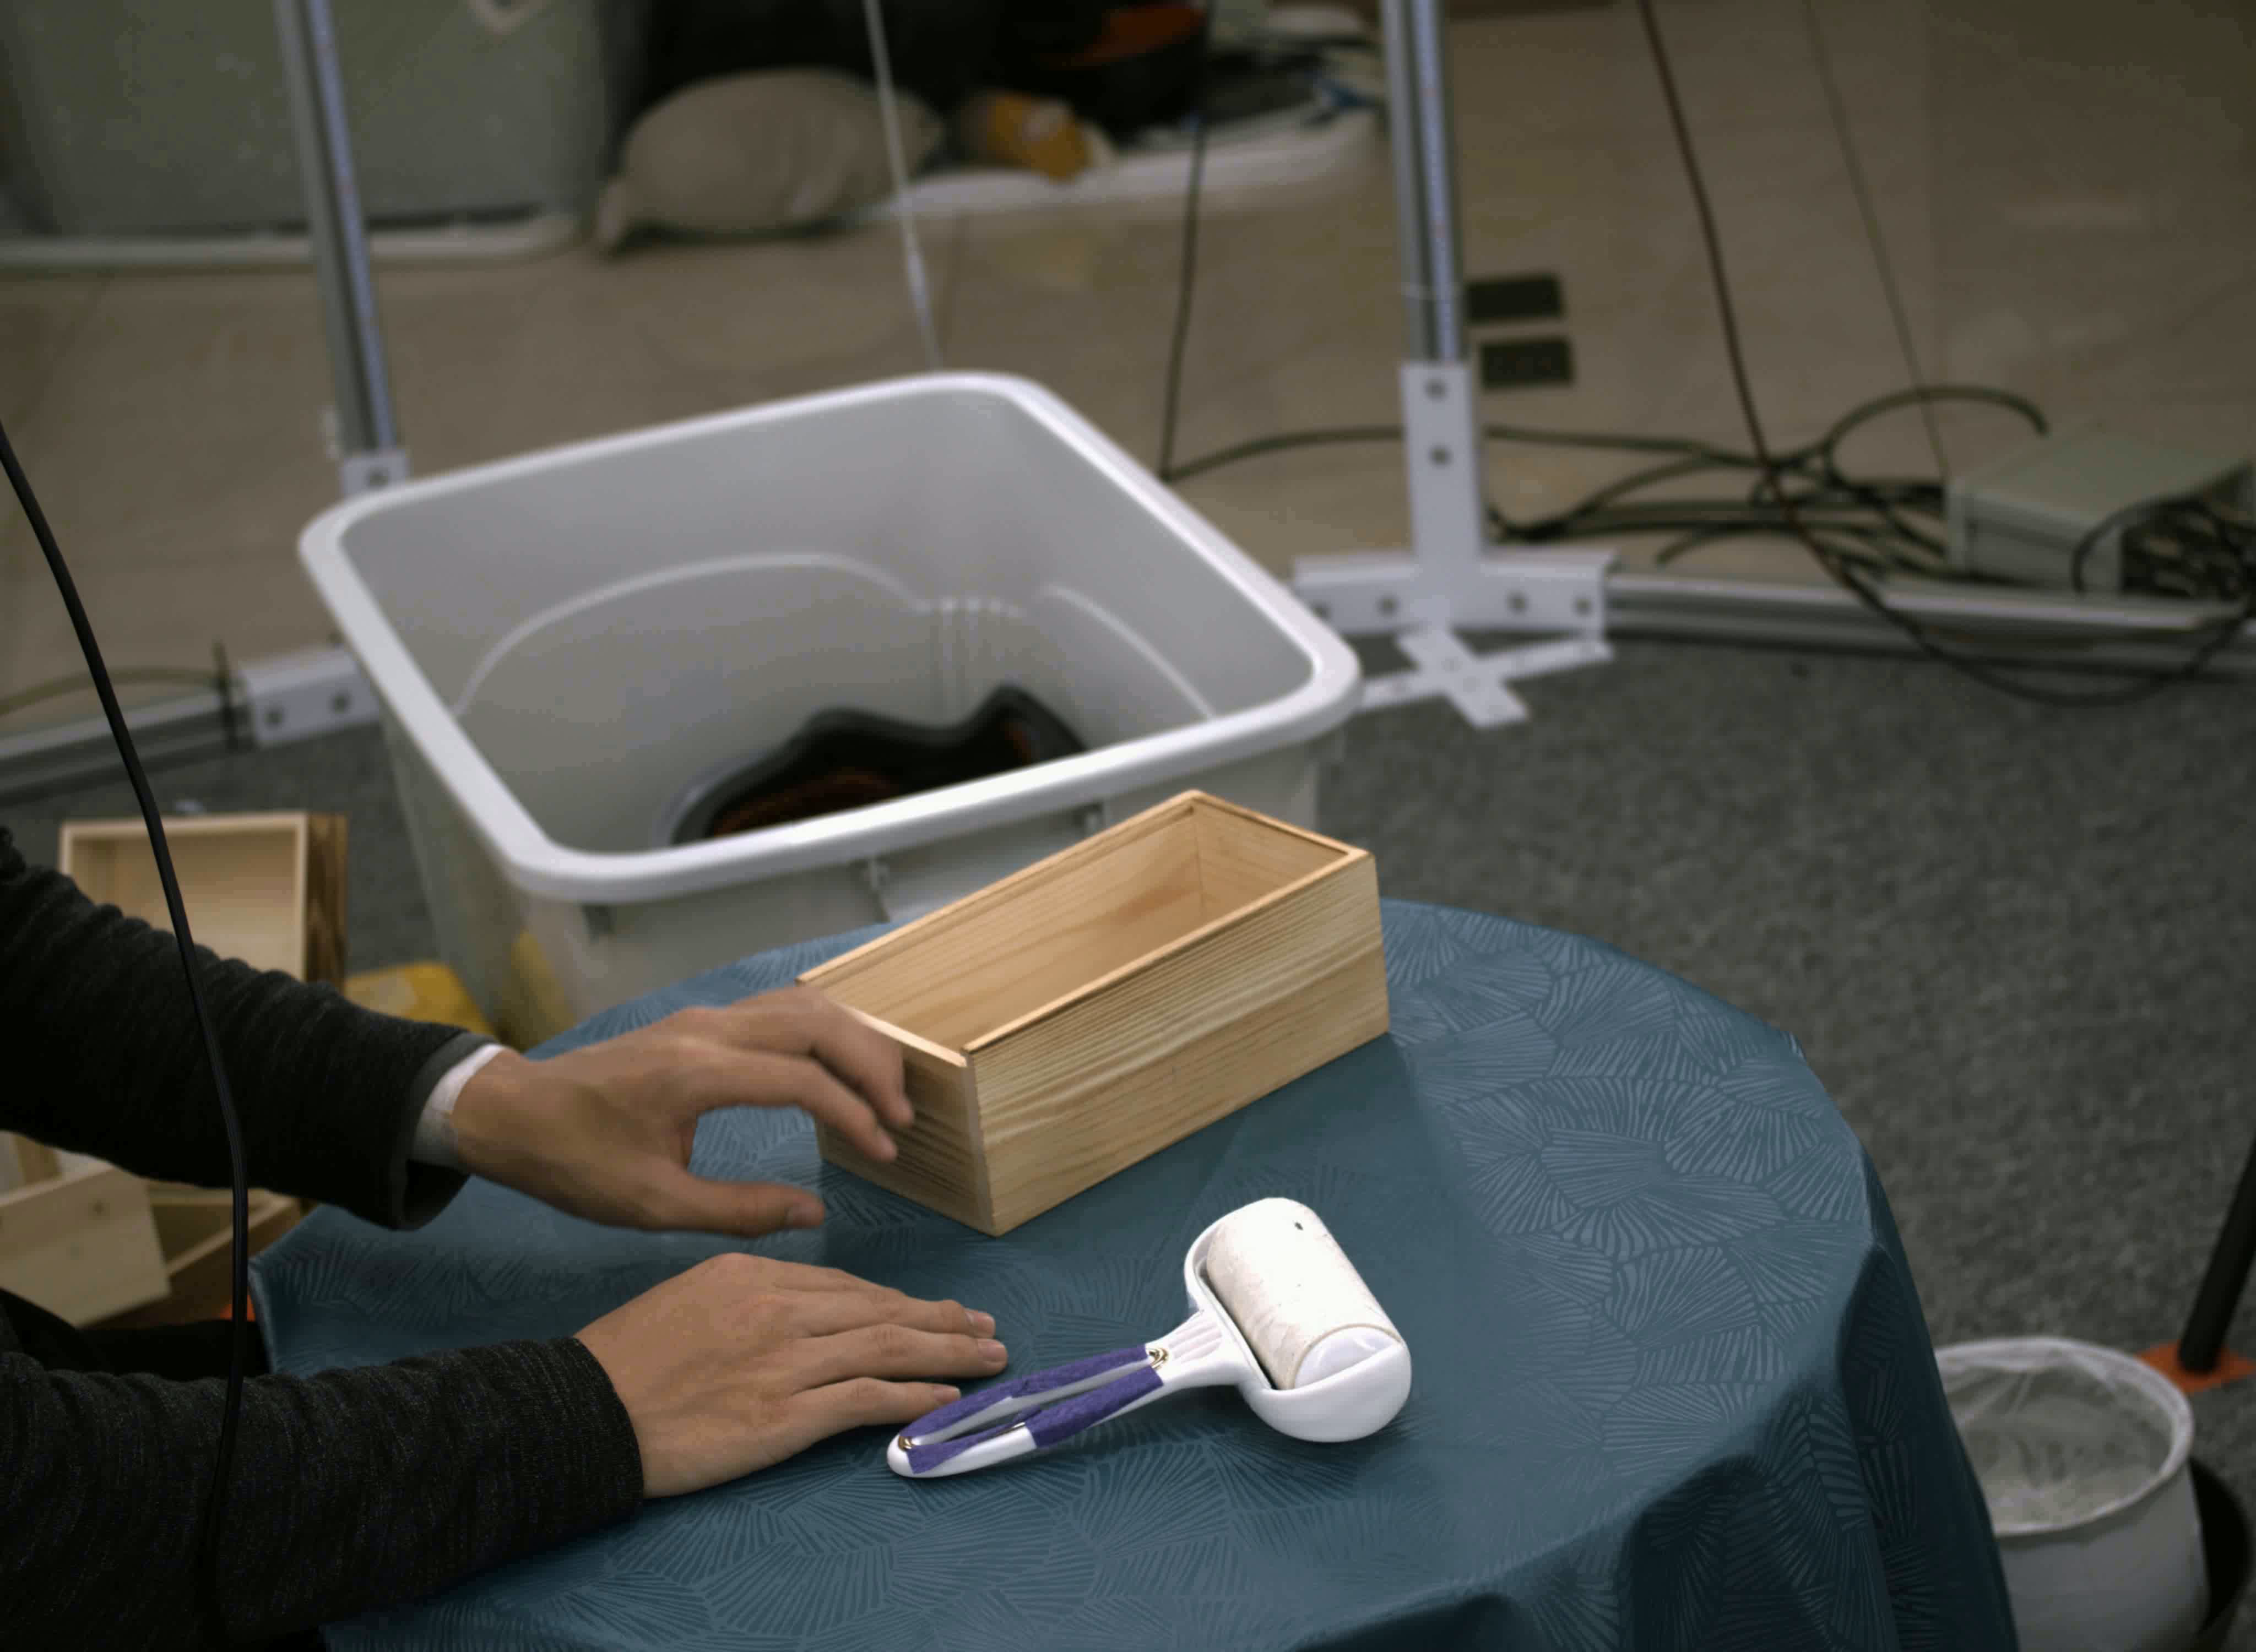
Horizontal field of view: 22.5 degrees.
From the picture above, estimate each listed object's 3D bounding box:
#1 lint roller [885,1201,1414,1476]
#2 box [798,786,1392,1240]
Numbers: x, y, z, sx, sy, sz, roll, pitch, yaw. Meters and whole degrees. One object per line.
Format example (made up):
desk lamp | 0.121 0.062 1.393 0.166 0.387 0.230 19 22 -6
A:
lint roller | 0.000 0.186 1.991 0.180 0.051 0.131 -10 26 -11
box | -0.011 0.070 2.204 0.209 0.081 0.106 -27 32 -35
